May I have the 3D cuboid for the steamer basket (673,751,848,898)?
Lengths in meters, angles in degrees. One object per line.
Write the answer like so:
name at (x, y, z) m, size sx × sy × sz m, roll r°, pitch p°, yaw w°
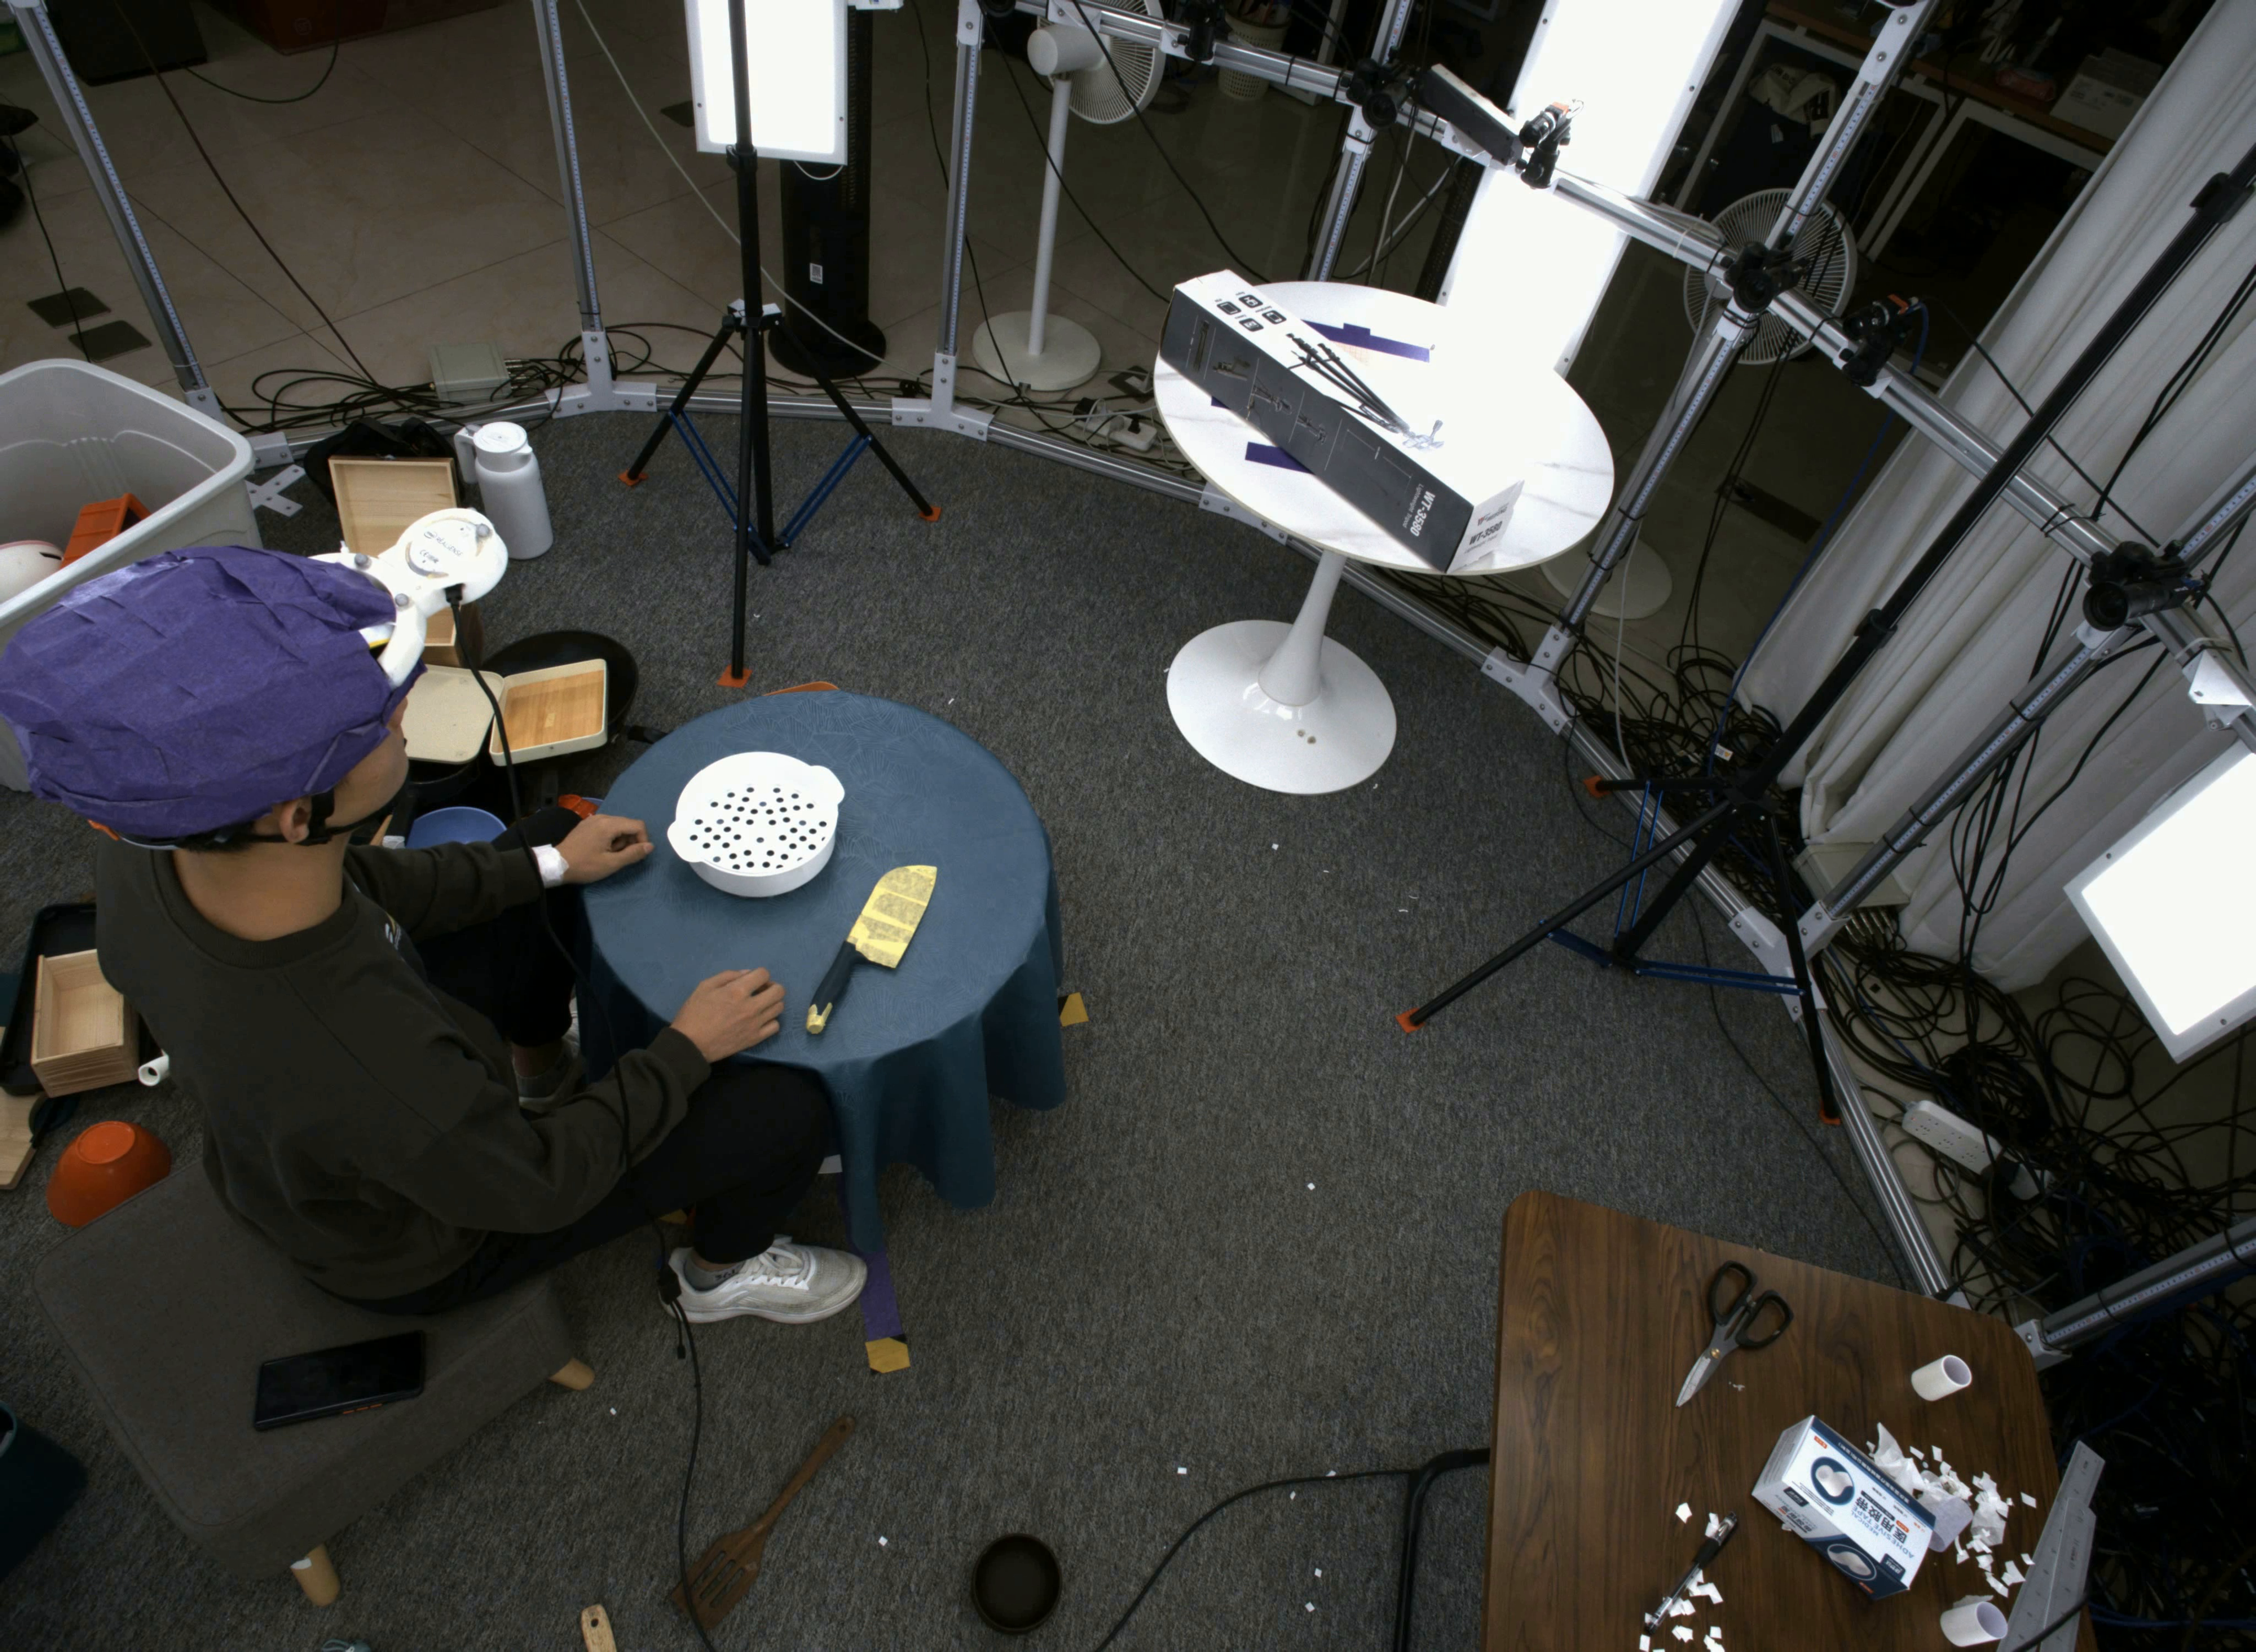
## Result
steamer basket at (-0.473, -0.003, 1.682) m, size 0.231 × 0.071 × 0.197 m, roll -27°, pitch 63°, yaw -28°

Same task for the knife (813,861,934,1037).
knife at (-0.318, 0.148, 1.643) m, size 0.080 × 0.028 × 0.287 m, roll 21°, pitch 51°, yaw 4°
